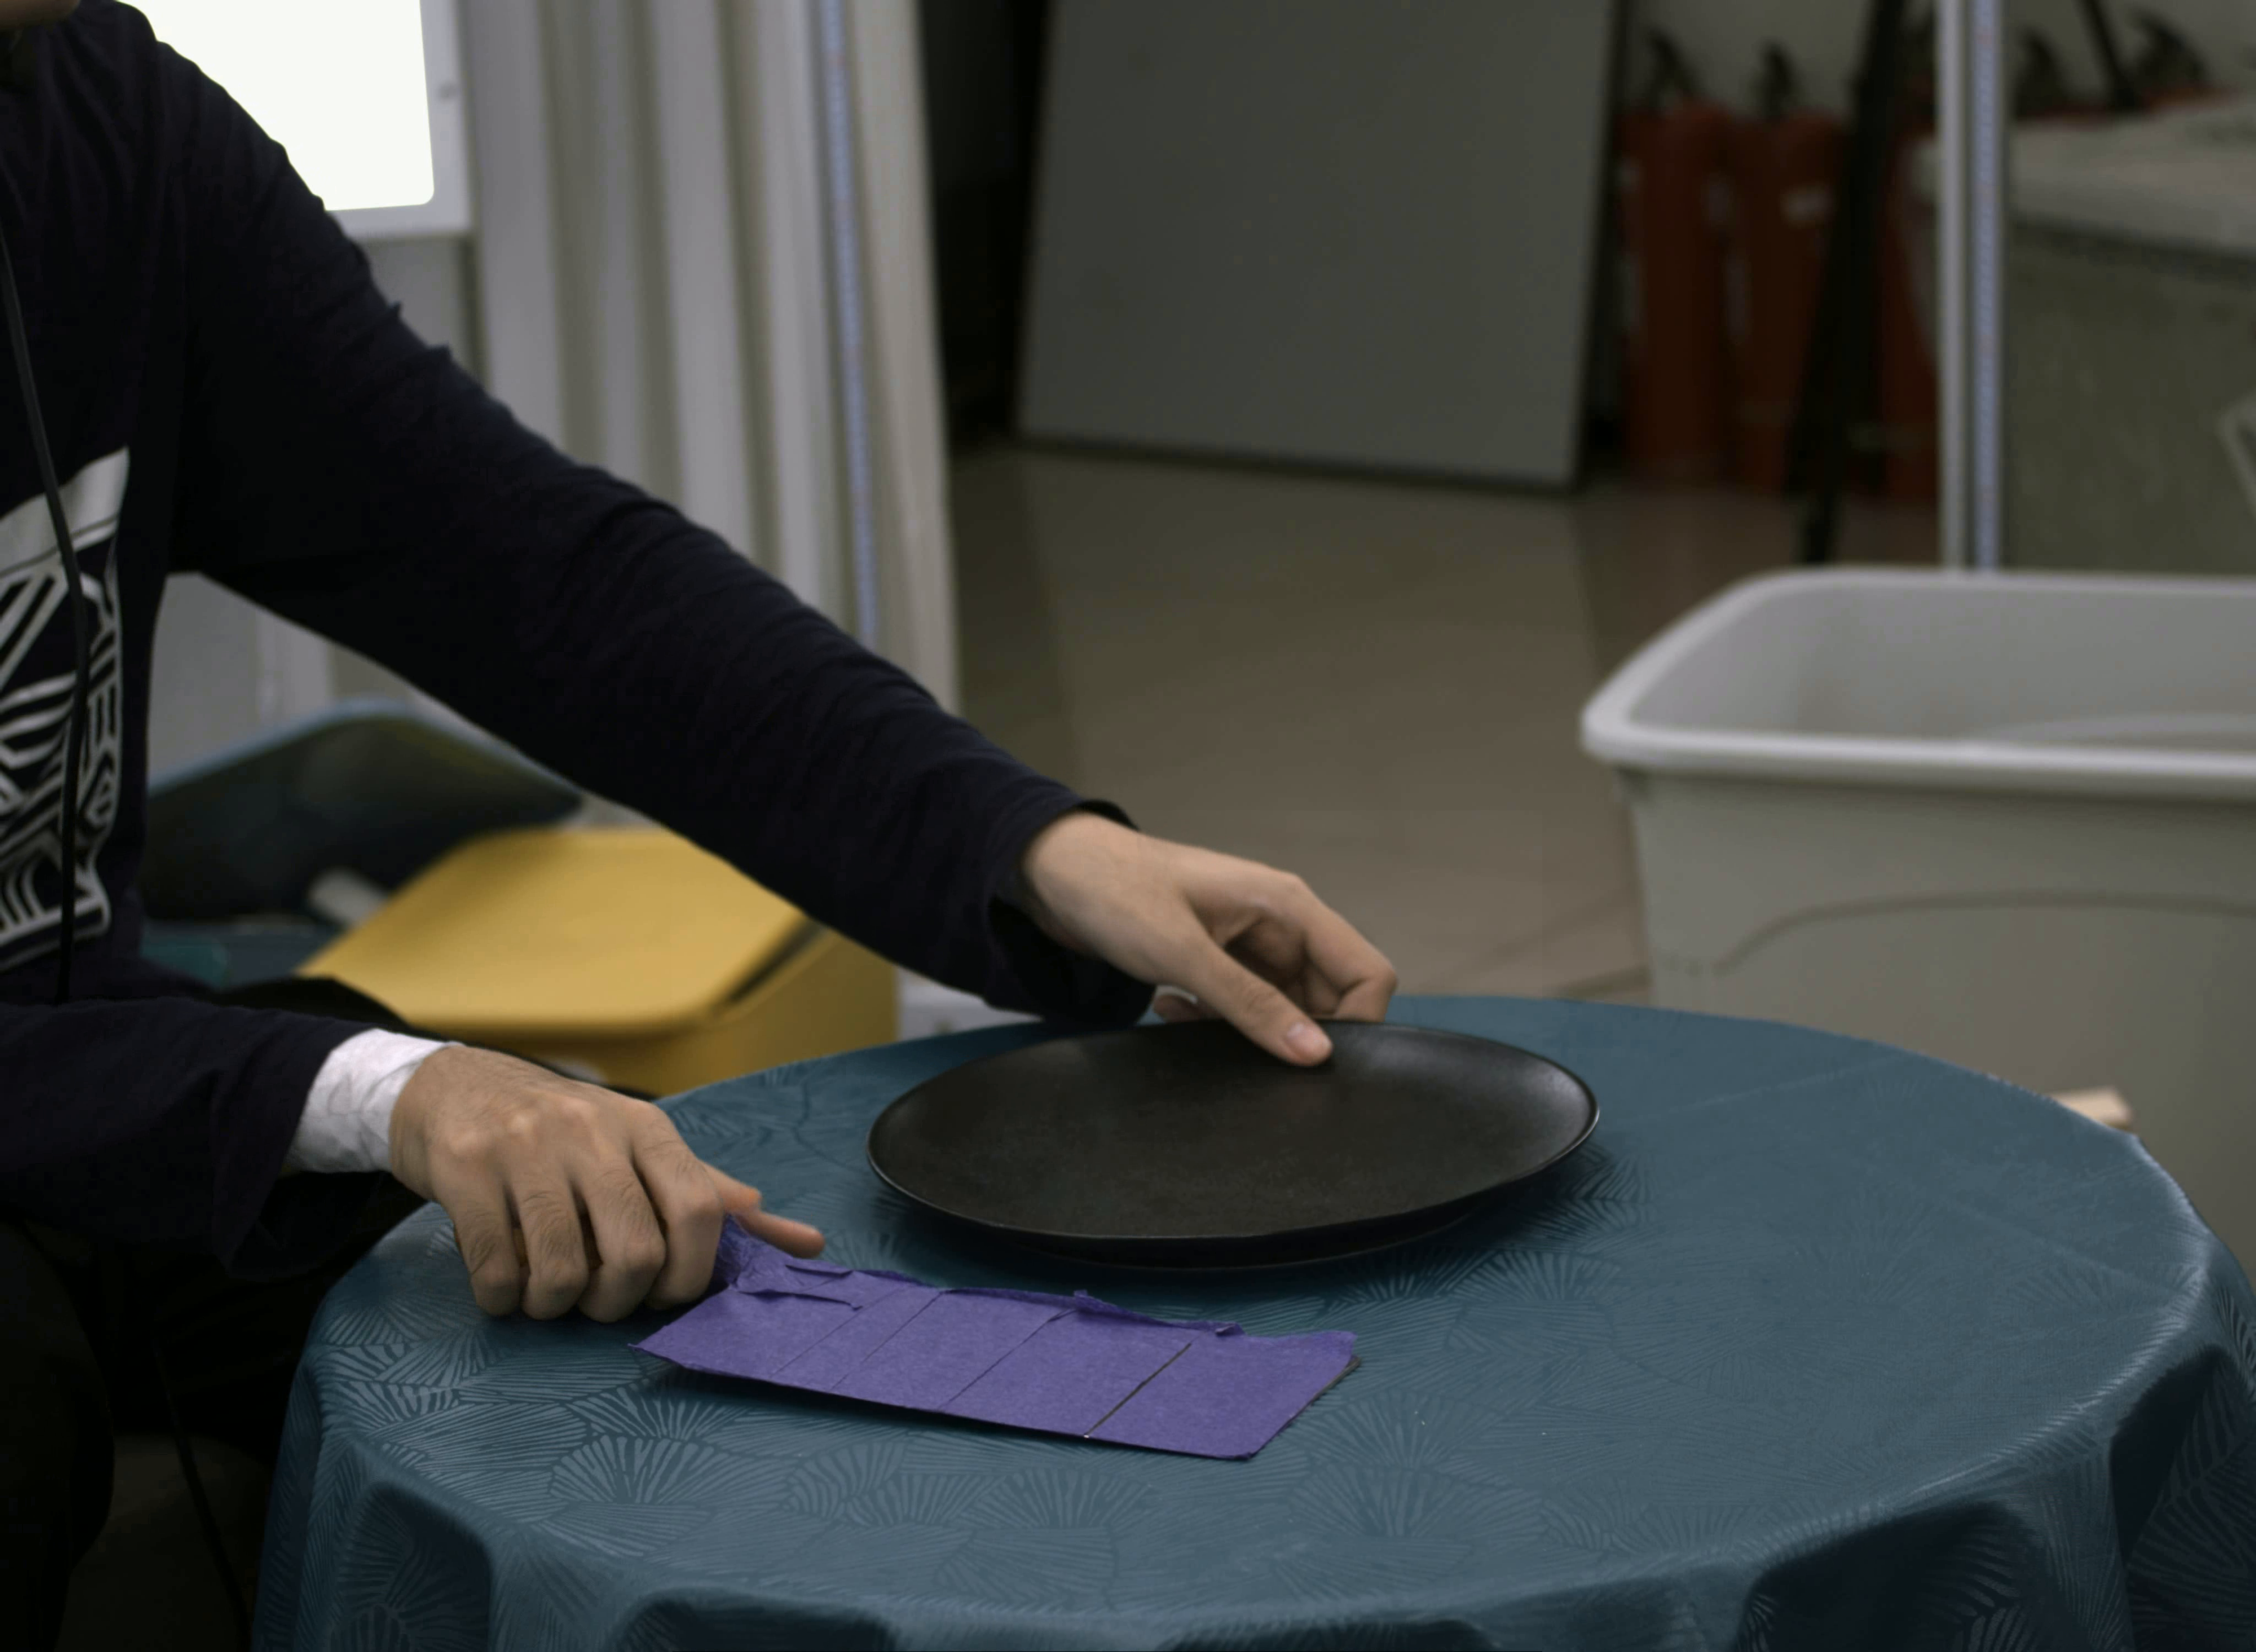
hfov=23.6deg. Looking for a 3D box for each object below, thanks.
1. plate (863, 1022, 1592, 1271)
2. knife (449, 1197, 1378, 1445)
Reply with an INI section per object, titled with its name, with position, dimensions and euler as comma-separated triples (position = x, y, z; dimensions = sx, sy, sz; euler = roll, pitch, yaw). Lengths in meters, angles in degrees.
[plate]
position = 0.033, 0.108, 1.773
dimensions = 0.241, 0.024, 0.245
euler = -4, 14, 0
[knife]
position = -0.084, 0.149, 1.630
dimensions = 0.316, 0.032, 0.102
euler = 4, 15, 27
